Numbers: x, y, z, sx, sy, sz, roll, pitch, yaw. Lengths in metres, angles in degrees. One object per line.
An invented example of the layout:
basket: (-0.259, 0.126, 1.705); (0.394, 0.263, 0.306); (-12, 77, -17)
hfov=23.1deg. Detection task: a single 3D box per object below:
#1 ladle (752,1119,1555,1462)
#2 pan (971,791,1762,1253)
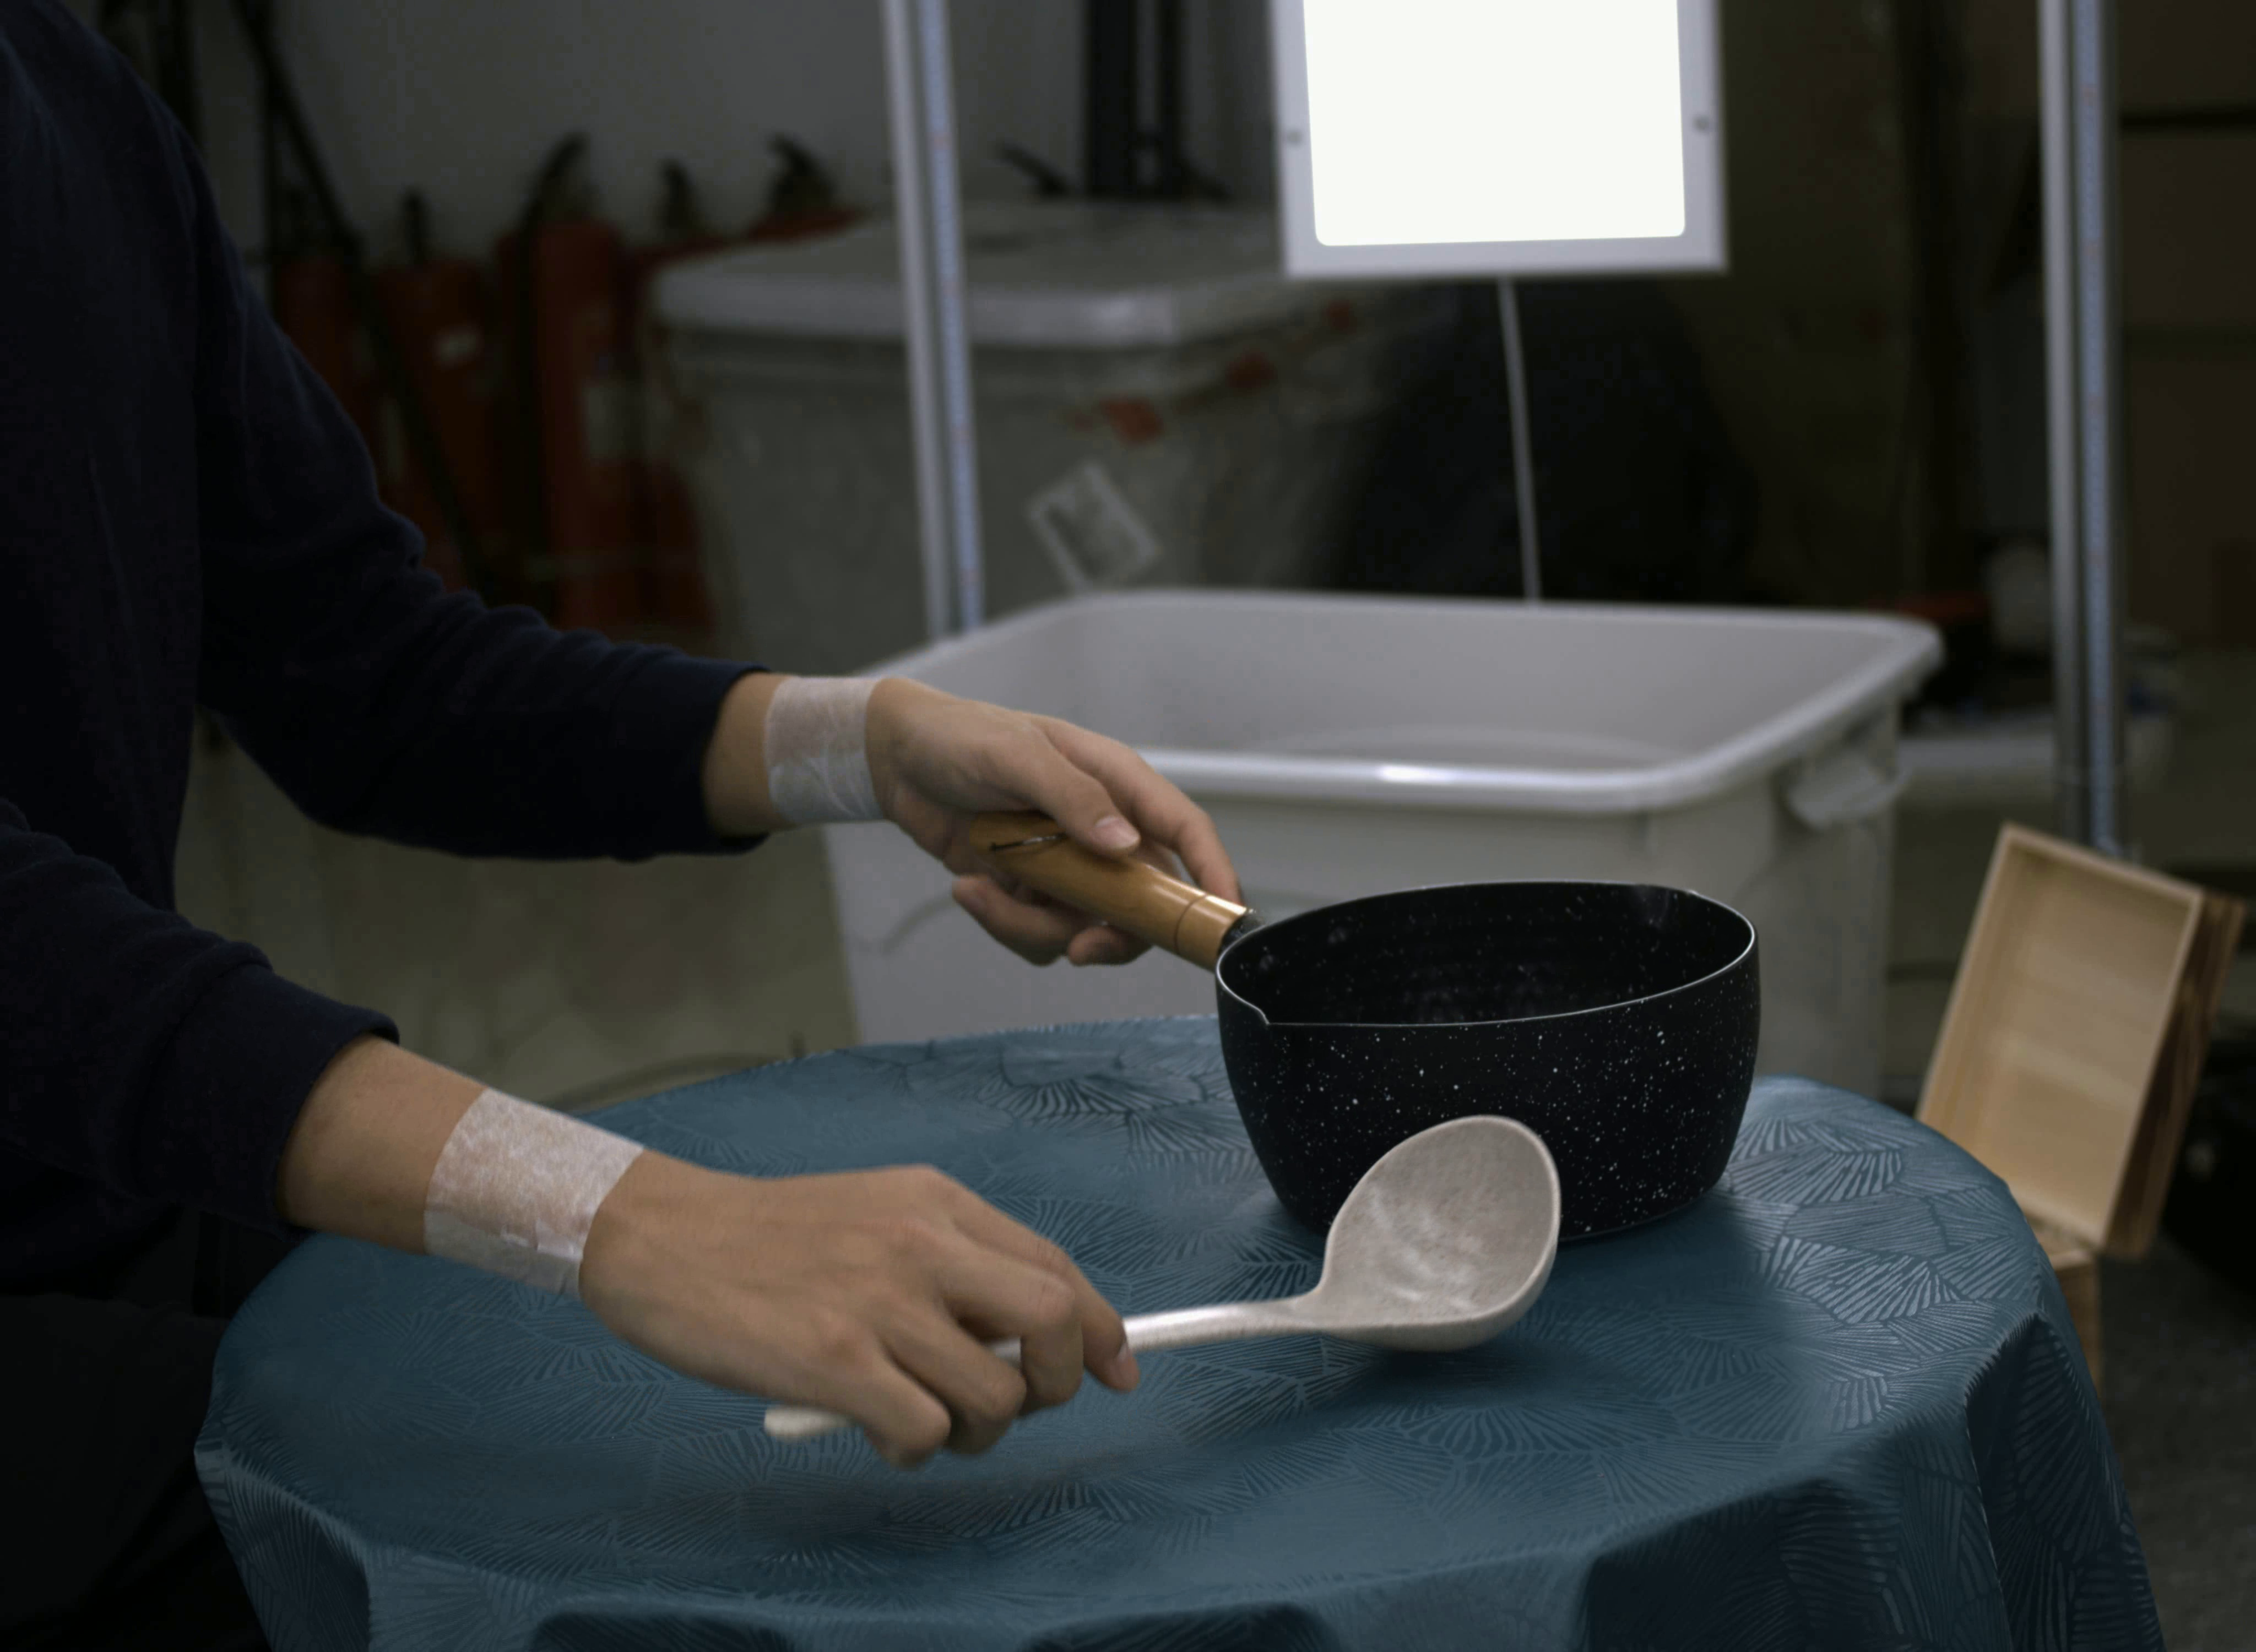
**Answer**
ladle: (0.009, 0.137, 1.642); (0.268, 0.070, 0.091); (-6, 22, -33)
pan: (0.067, 0.061, 1.911); (0.202, 0.108, 0.350); (-18, 19, -41)
